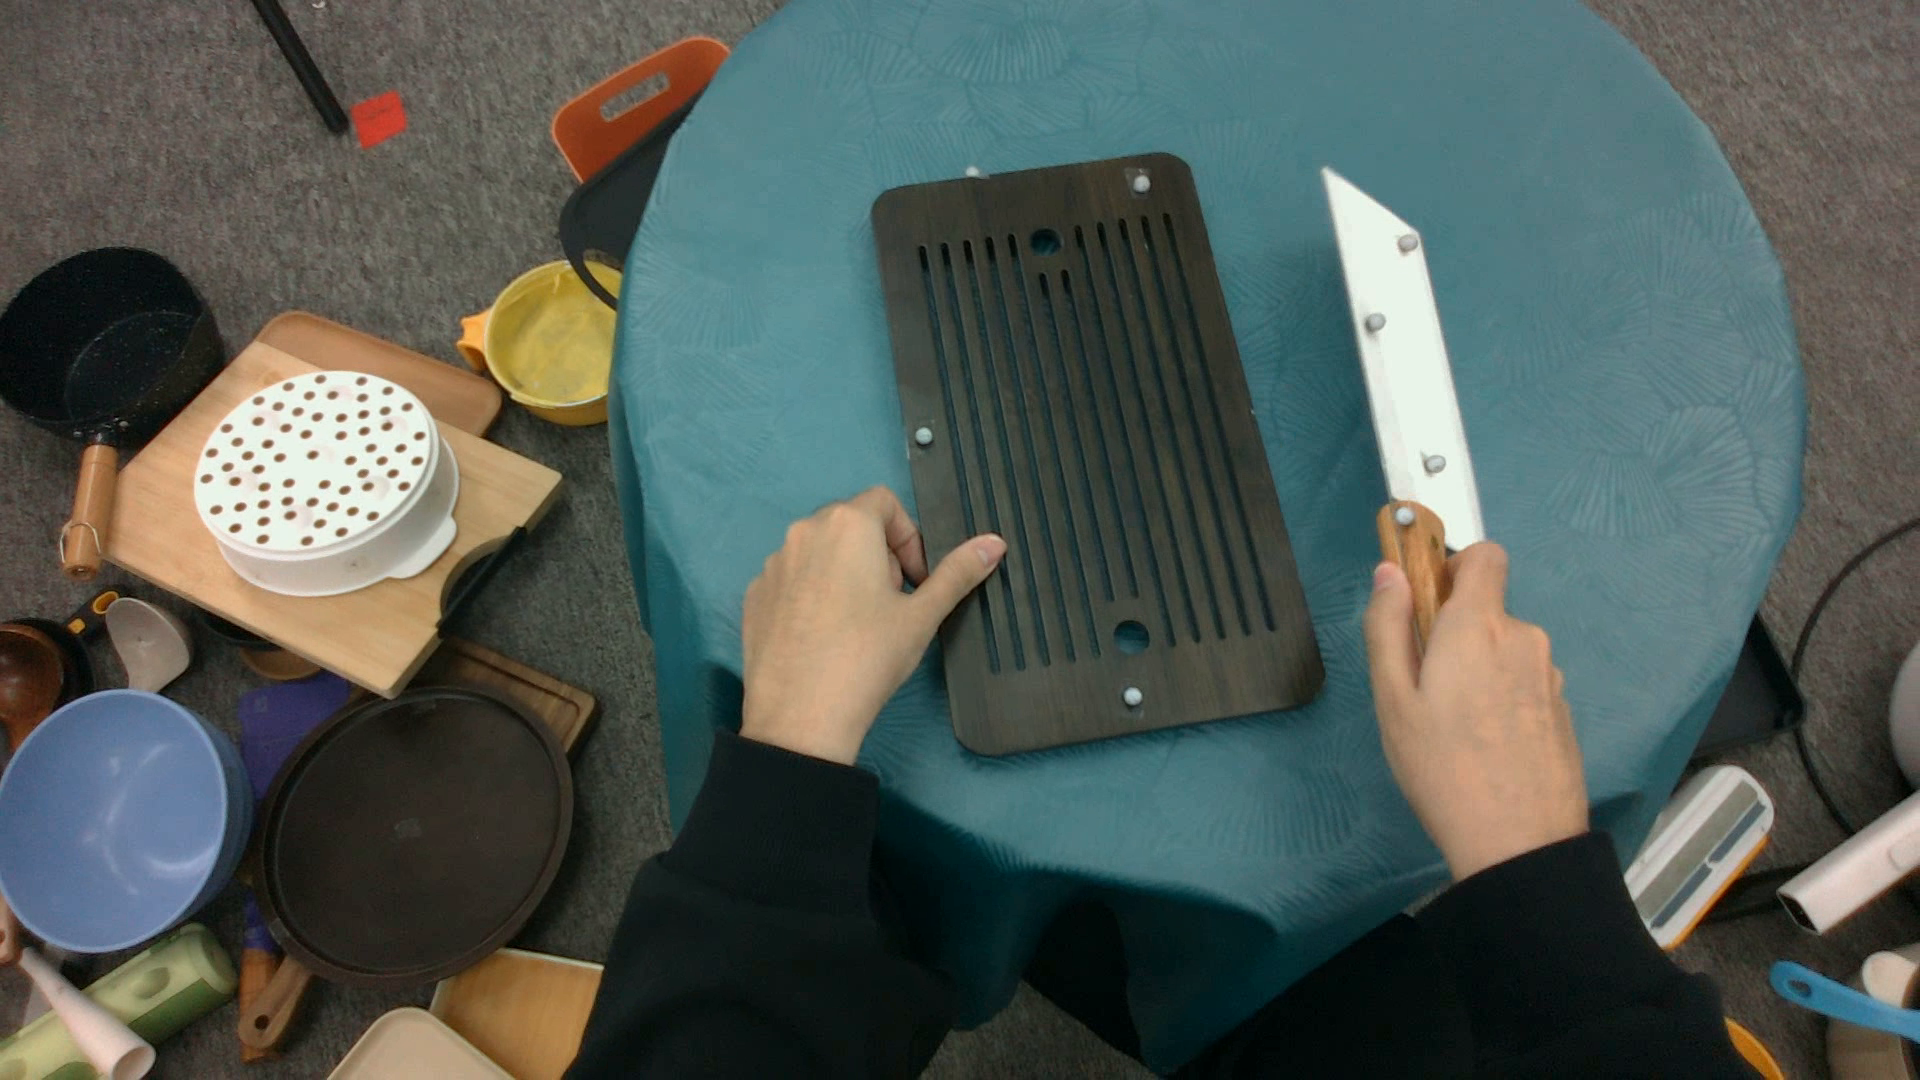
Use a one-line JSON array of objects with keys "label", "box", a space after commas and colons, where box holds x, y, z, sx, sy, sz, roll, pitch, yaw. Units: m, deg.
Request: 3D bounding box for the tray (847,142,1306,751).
[{"label": "tray", "box": [0.049, -0.057, 0.668, 0.170, 0.018, 0.307, -8, 69, -5]}]

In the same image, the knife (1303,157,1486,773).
[{"label": "knife", "box": [0.207, -0.040, 0.634, 0.093, 0.021, 0.307, 18, 58, -41]}]
